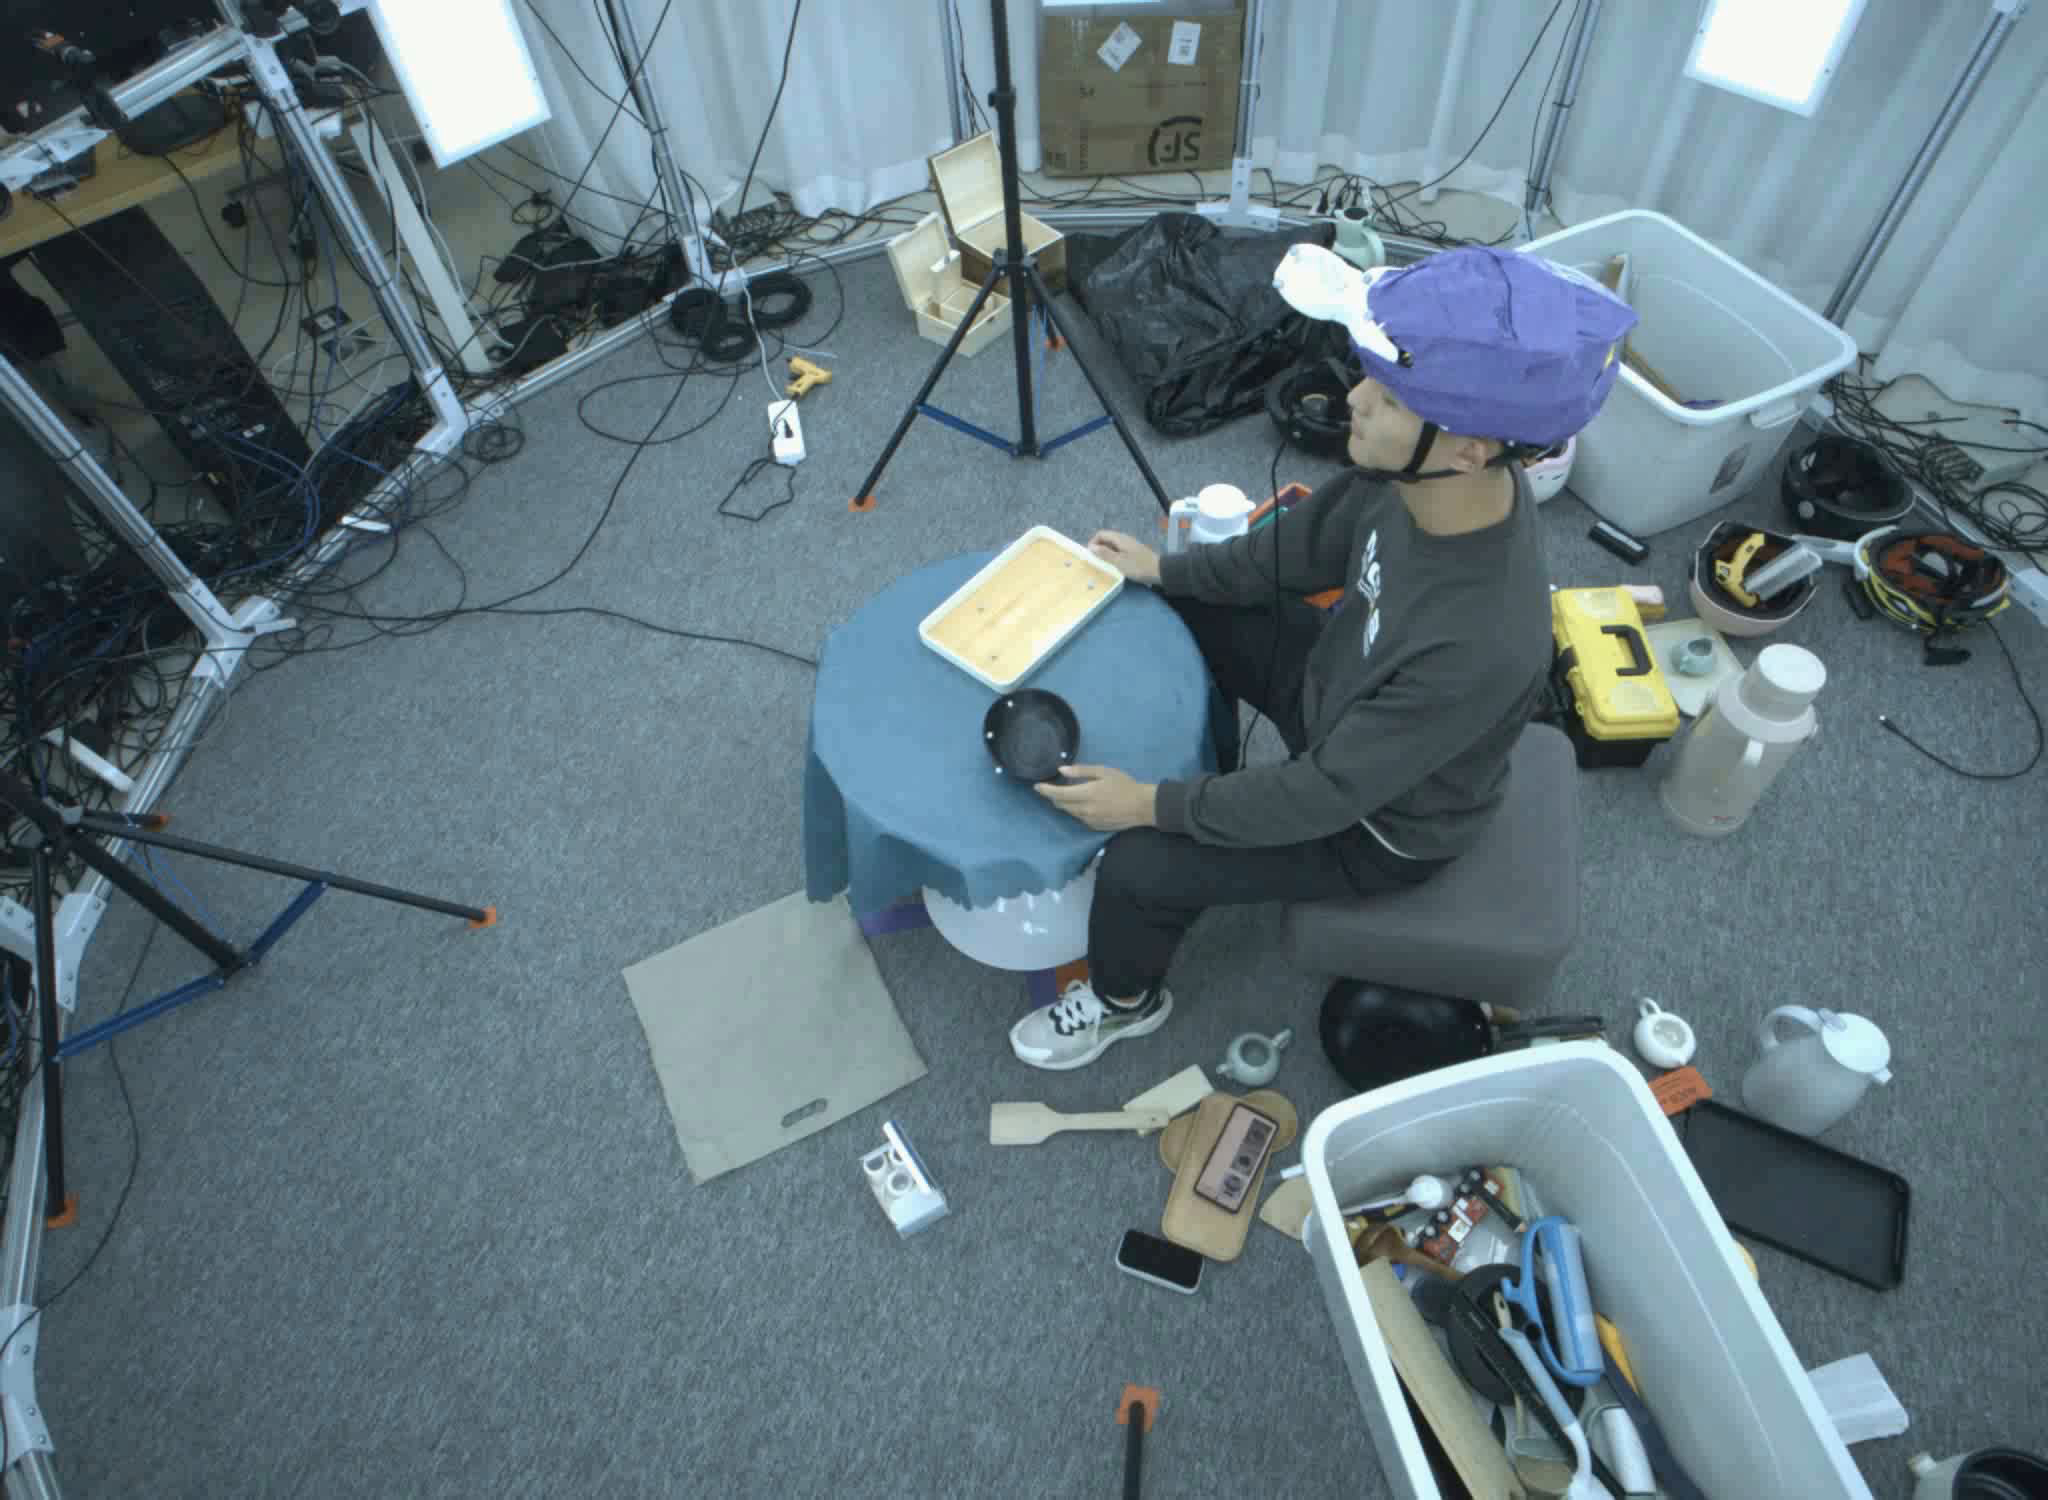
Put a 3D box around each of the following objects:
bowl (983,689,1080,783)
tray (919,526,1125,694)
[{"bbox_3d":[0.011,-0.012,1.756,0.138,0.067,0.168,-8,53,-5],"label":"bowl"},{"bbox_3d":[0.000,-0.226,1.929,0.188,0.028,0.302,34,62,23],"label":"tray"}]
